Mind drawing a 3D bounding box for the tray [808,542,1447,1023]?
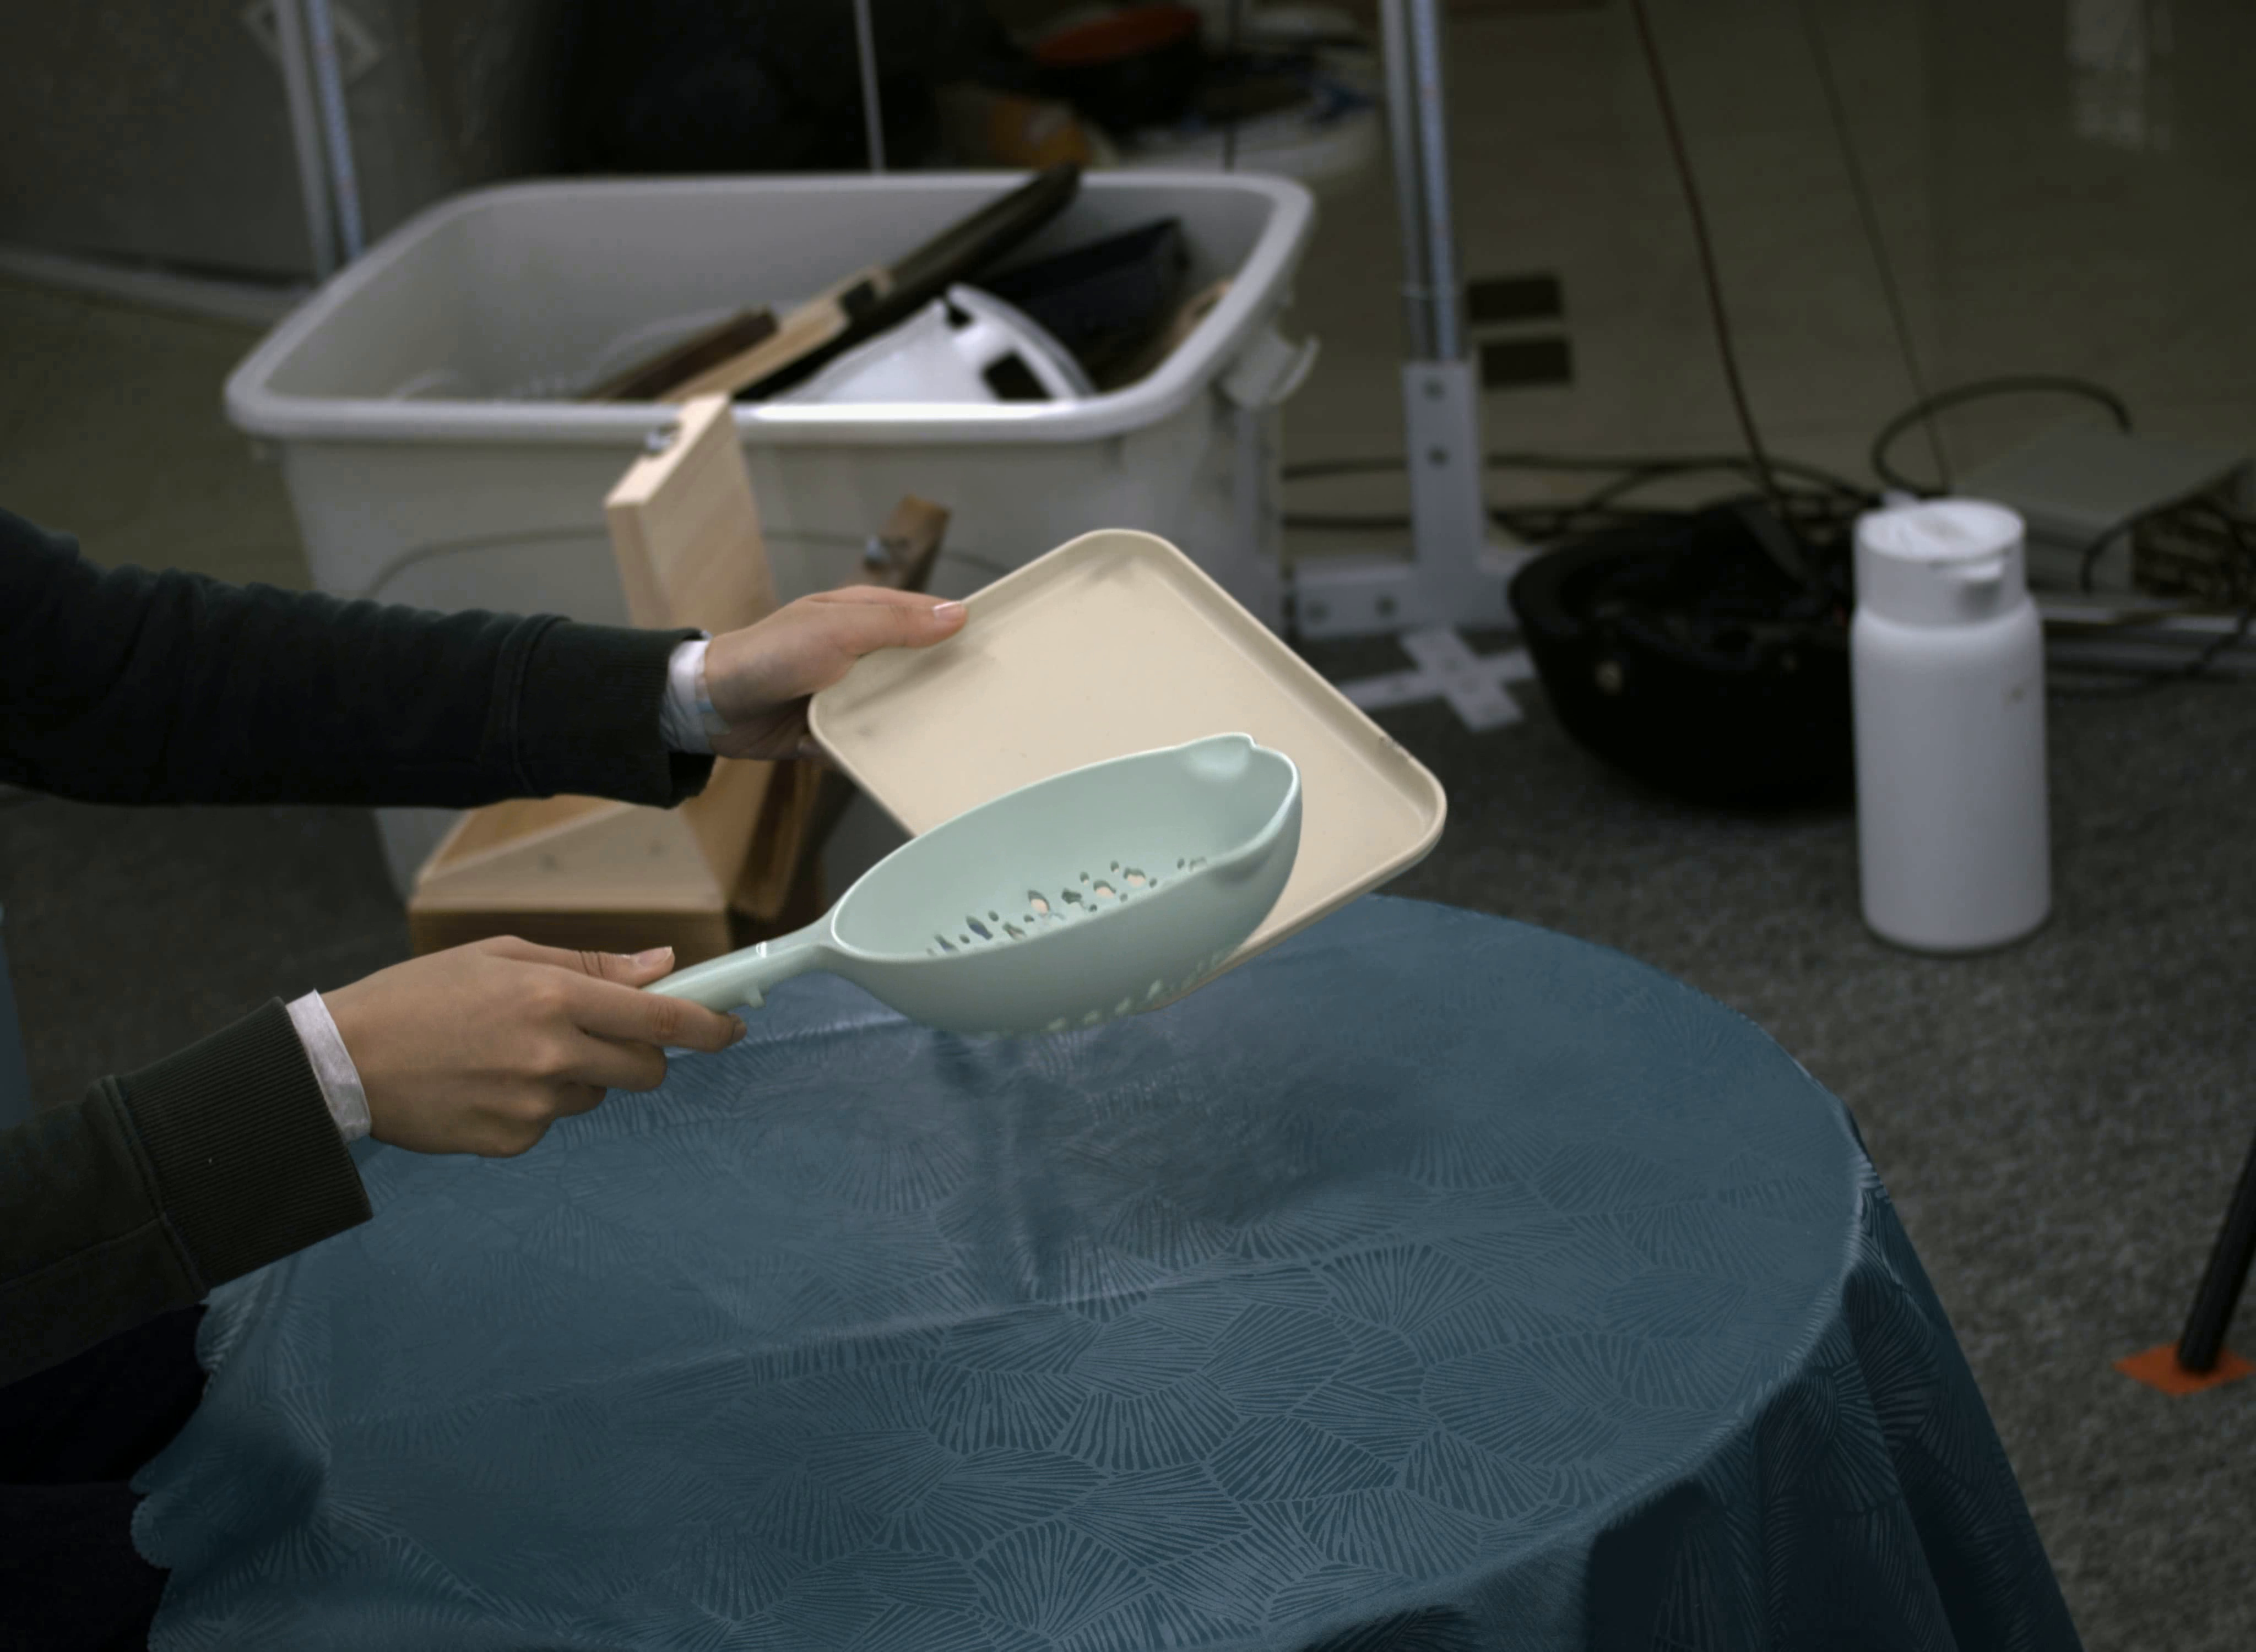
[{"bbox_3d":[-0.002,-0.018,2.176,0.170,0.018,0.236,-29,46,-18],"label":"tray"}]

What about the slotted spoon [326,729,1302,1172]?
[{"bbox_3d":[-0.110,0.049,1.954,0.358,0.076,0.167,-11,16,1],"label":"slotted spoon"}]
